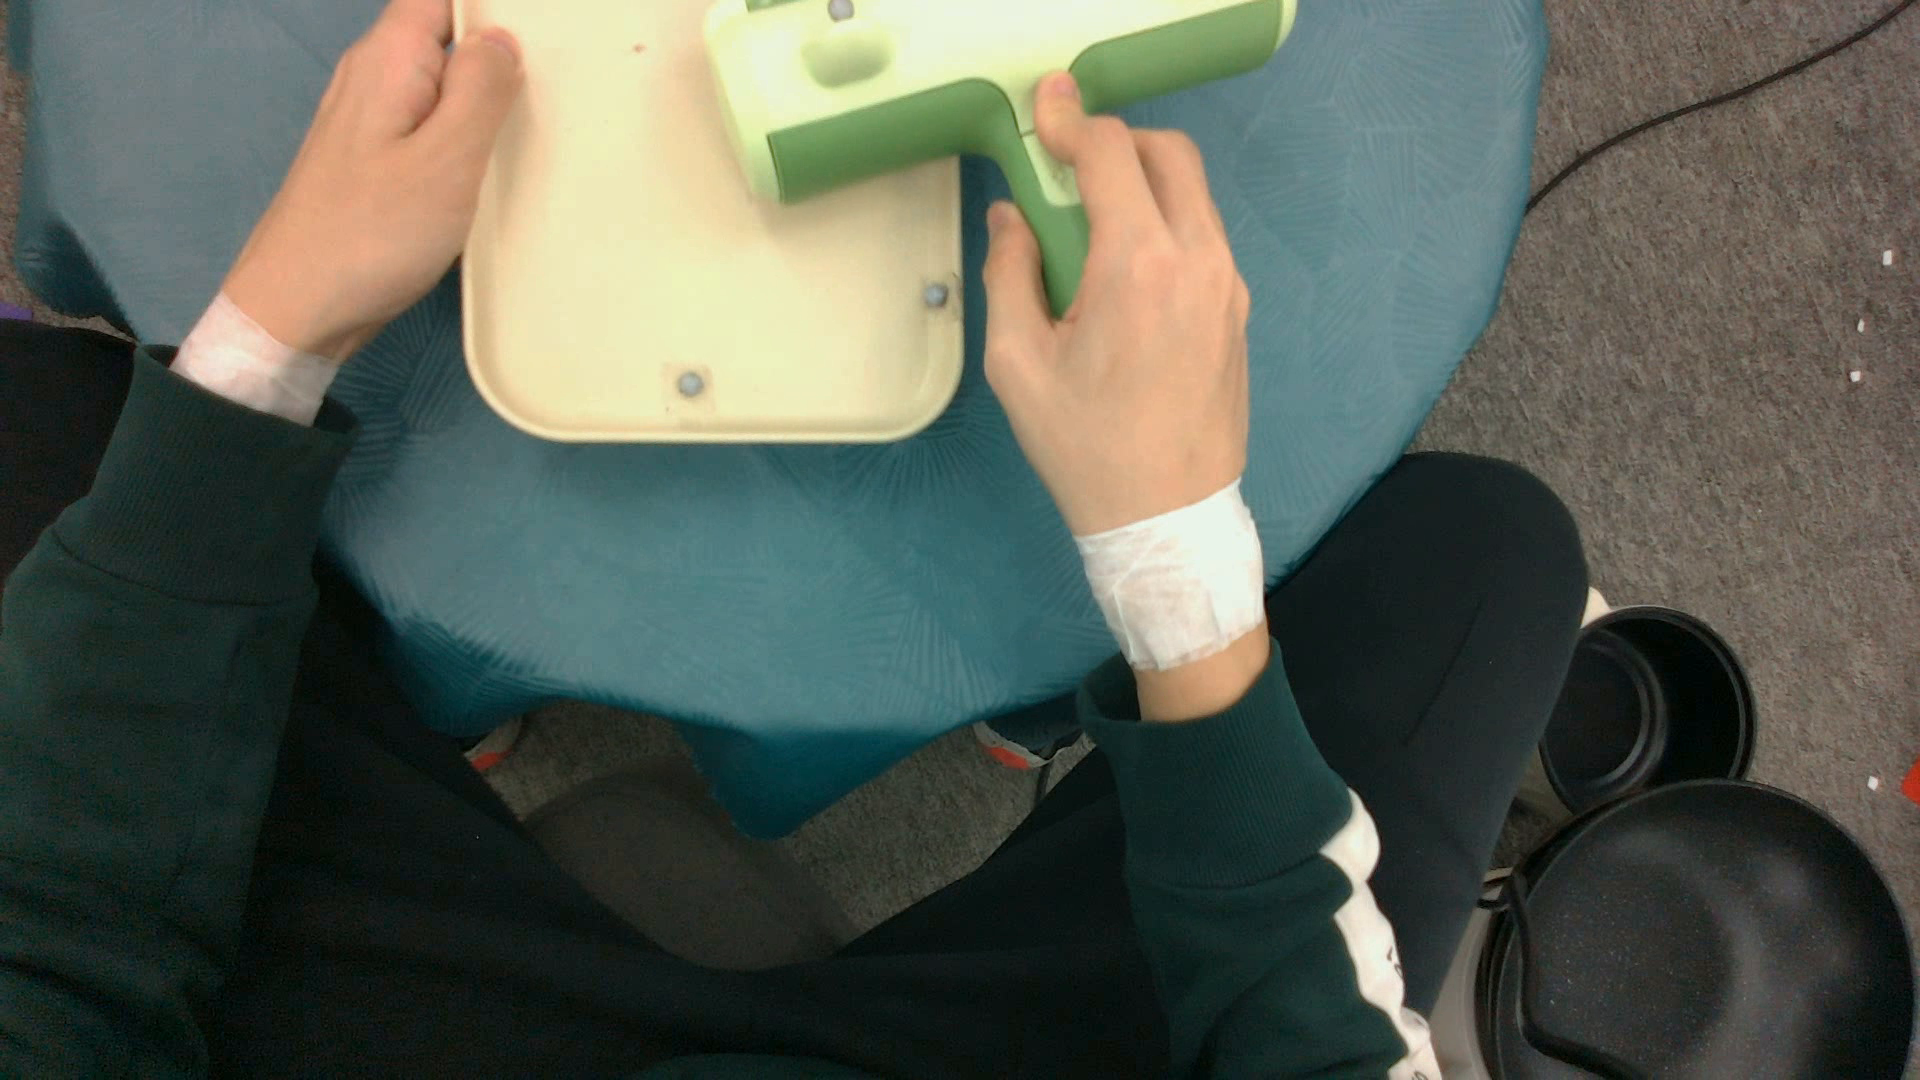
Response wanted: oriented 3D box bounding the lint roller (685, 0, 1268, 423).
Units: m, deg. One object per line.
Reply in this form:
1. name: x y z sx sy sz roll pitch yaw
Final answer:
1. lint roller: 0.029 -0.131 0.449 0.199 0.082 0.183 -19 76 -10

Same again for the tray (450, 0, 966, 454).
1. tray: -0.087 -0.151 0.483 0.171 0.017 0.239 -3 91 -12
